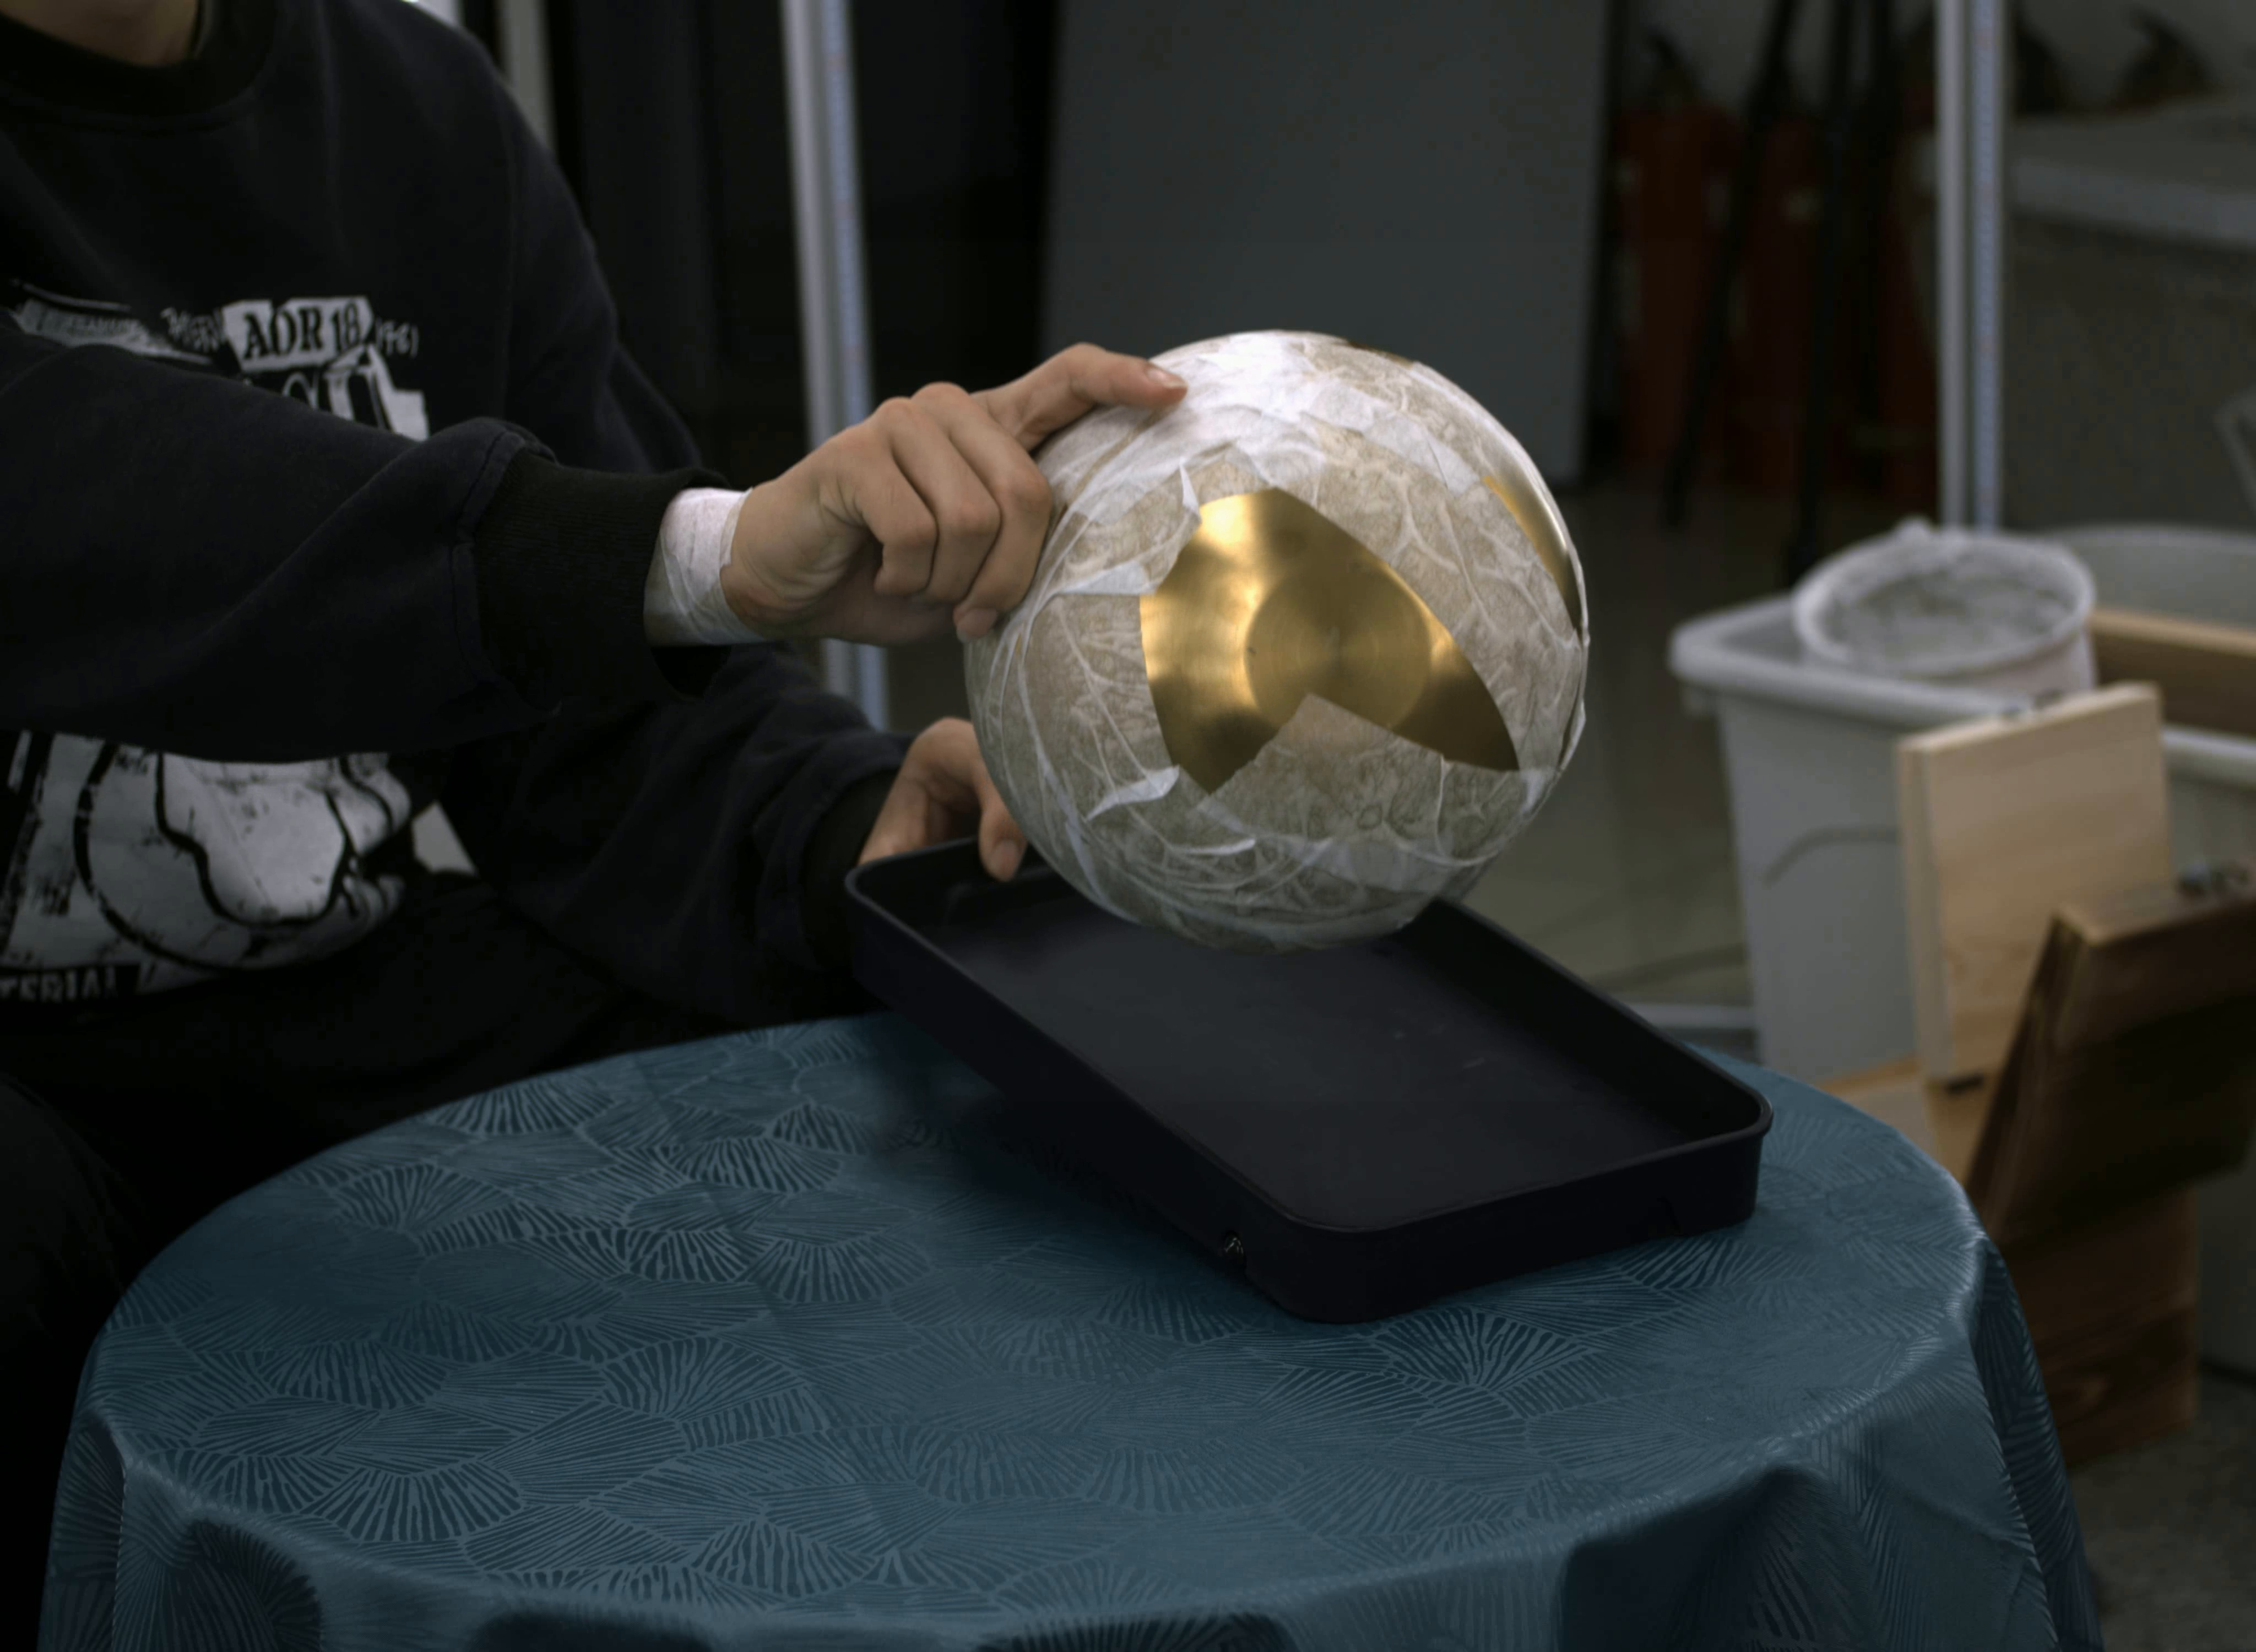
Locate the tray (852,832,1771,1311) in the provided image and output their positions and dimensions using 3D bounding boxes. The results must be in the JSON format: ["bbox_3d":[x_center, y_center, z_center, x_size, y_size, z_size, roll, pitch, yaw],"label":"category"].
[{"bbox_3d":[0.054,0.066,1.779,0.180,0.037,0.321,-13,25,-27],"label":"tray"}]

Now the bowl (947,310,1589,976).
[{"bbox_3d":[0.050,-0.053,1.669,0.211,0.217,0.095,-5,6,-8],"label":"bowl"}]
